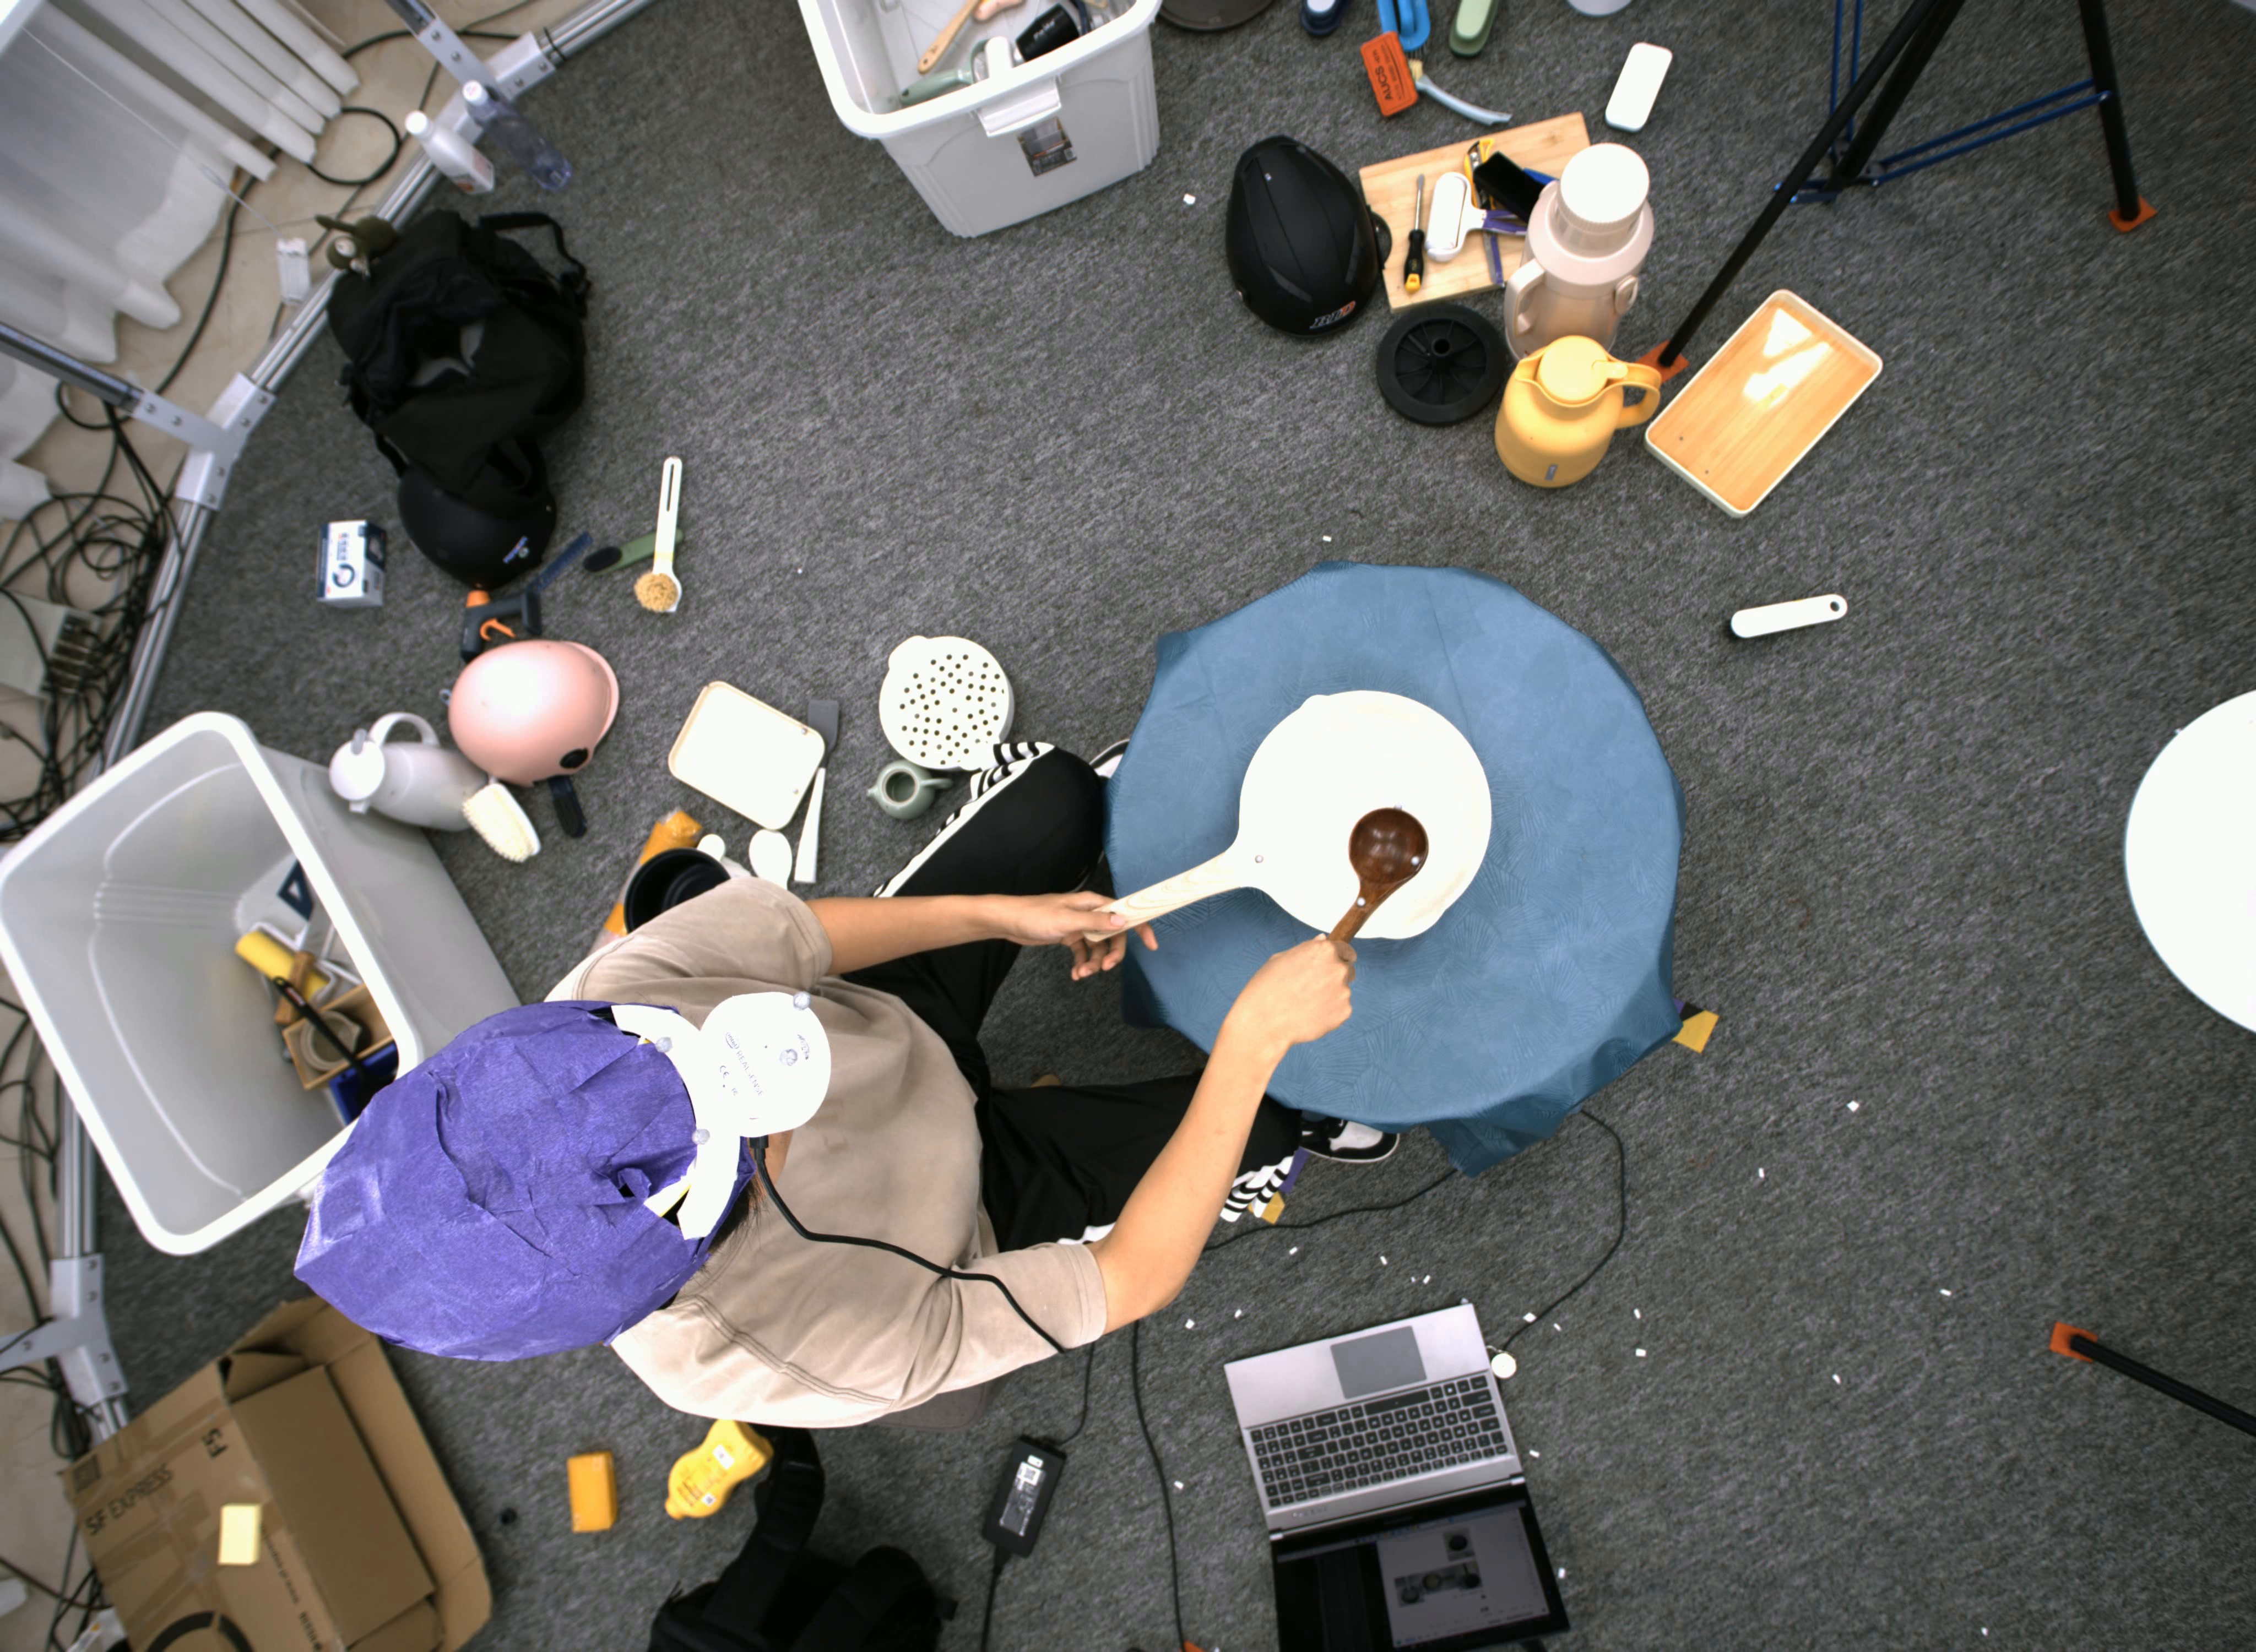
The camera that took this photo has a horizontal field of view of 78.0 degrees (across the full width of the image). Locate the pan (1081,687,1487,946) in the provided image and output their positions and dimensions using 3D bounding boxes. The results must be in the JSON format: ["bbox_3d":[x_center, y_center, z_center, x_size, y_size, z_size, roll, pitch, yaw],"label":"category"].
[{"bbox_3d":[0.157,0.023,1.435,0.437,0.102,0.262,-24,84,8],"label":"pan"}]

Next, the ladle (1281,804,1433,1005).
[{"bbox_3d":[0.209,0.063,1.285,0.082,0.268,0.078,6,119,32],"label":"ladle"}]
